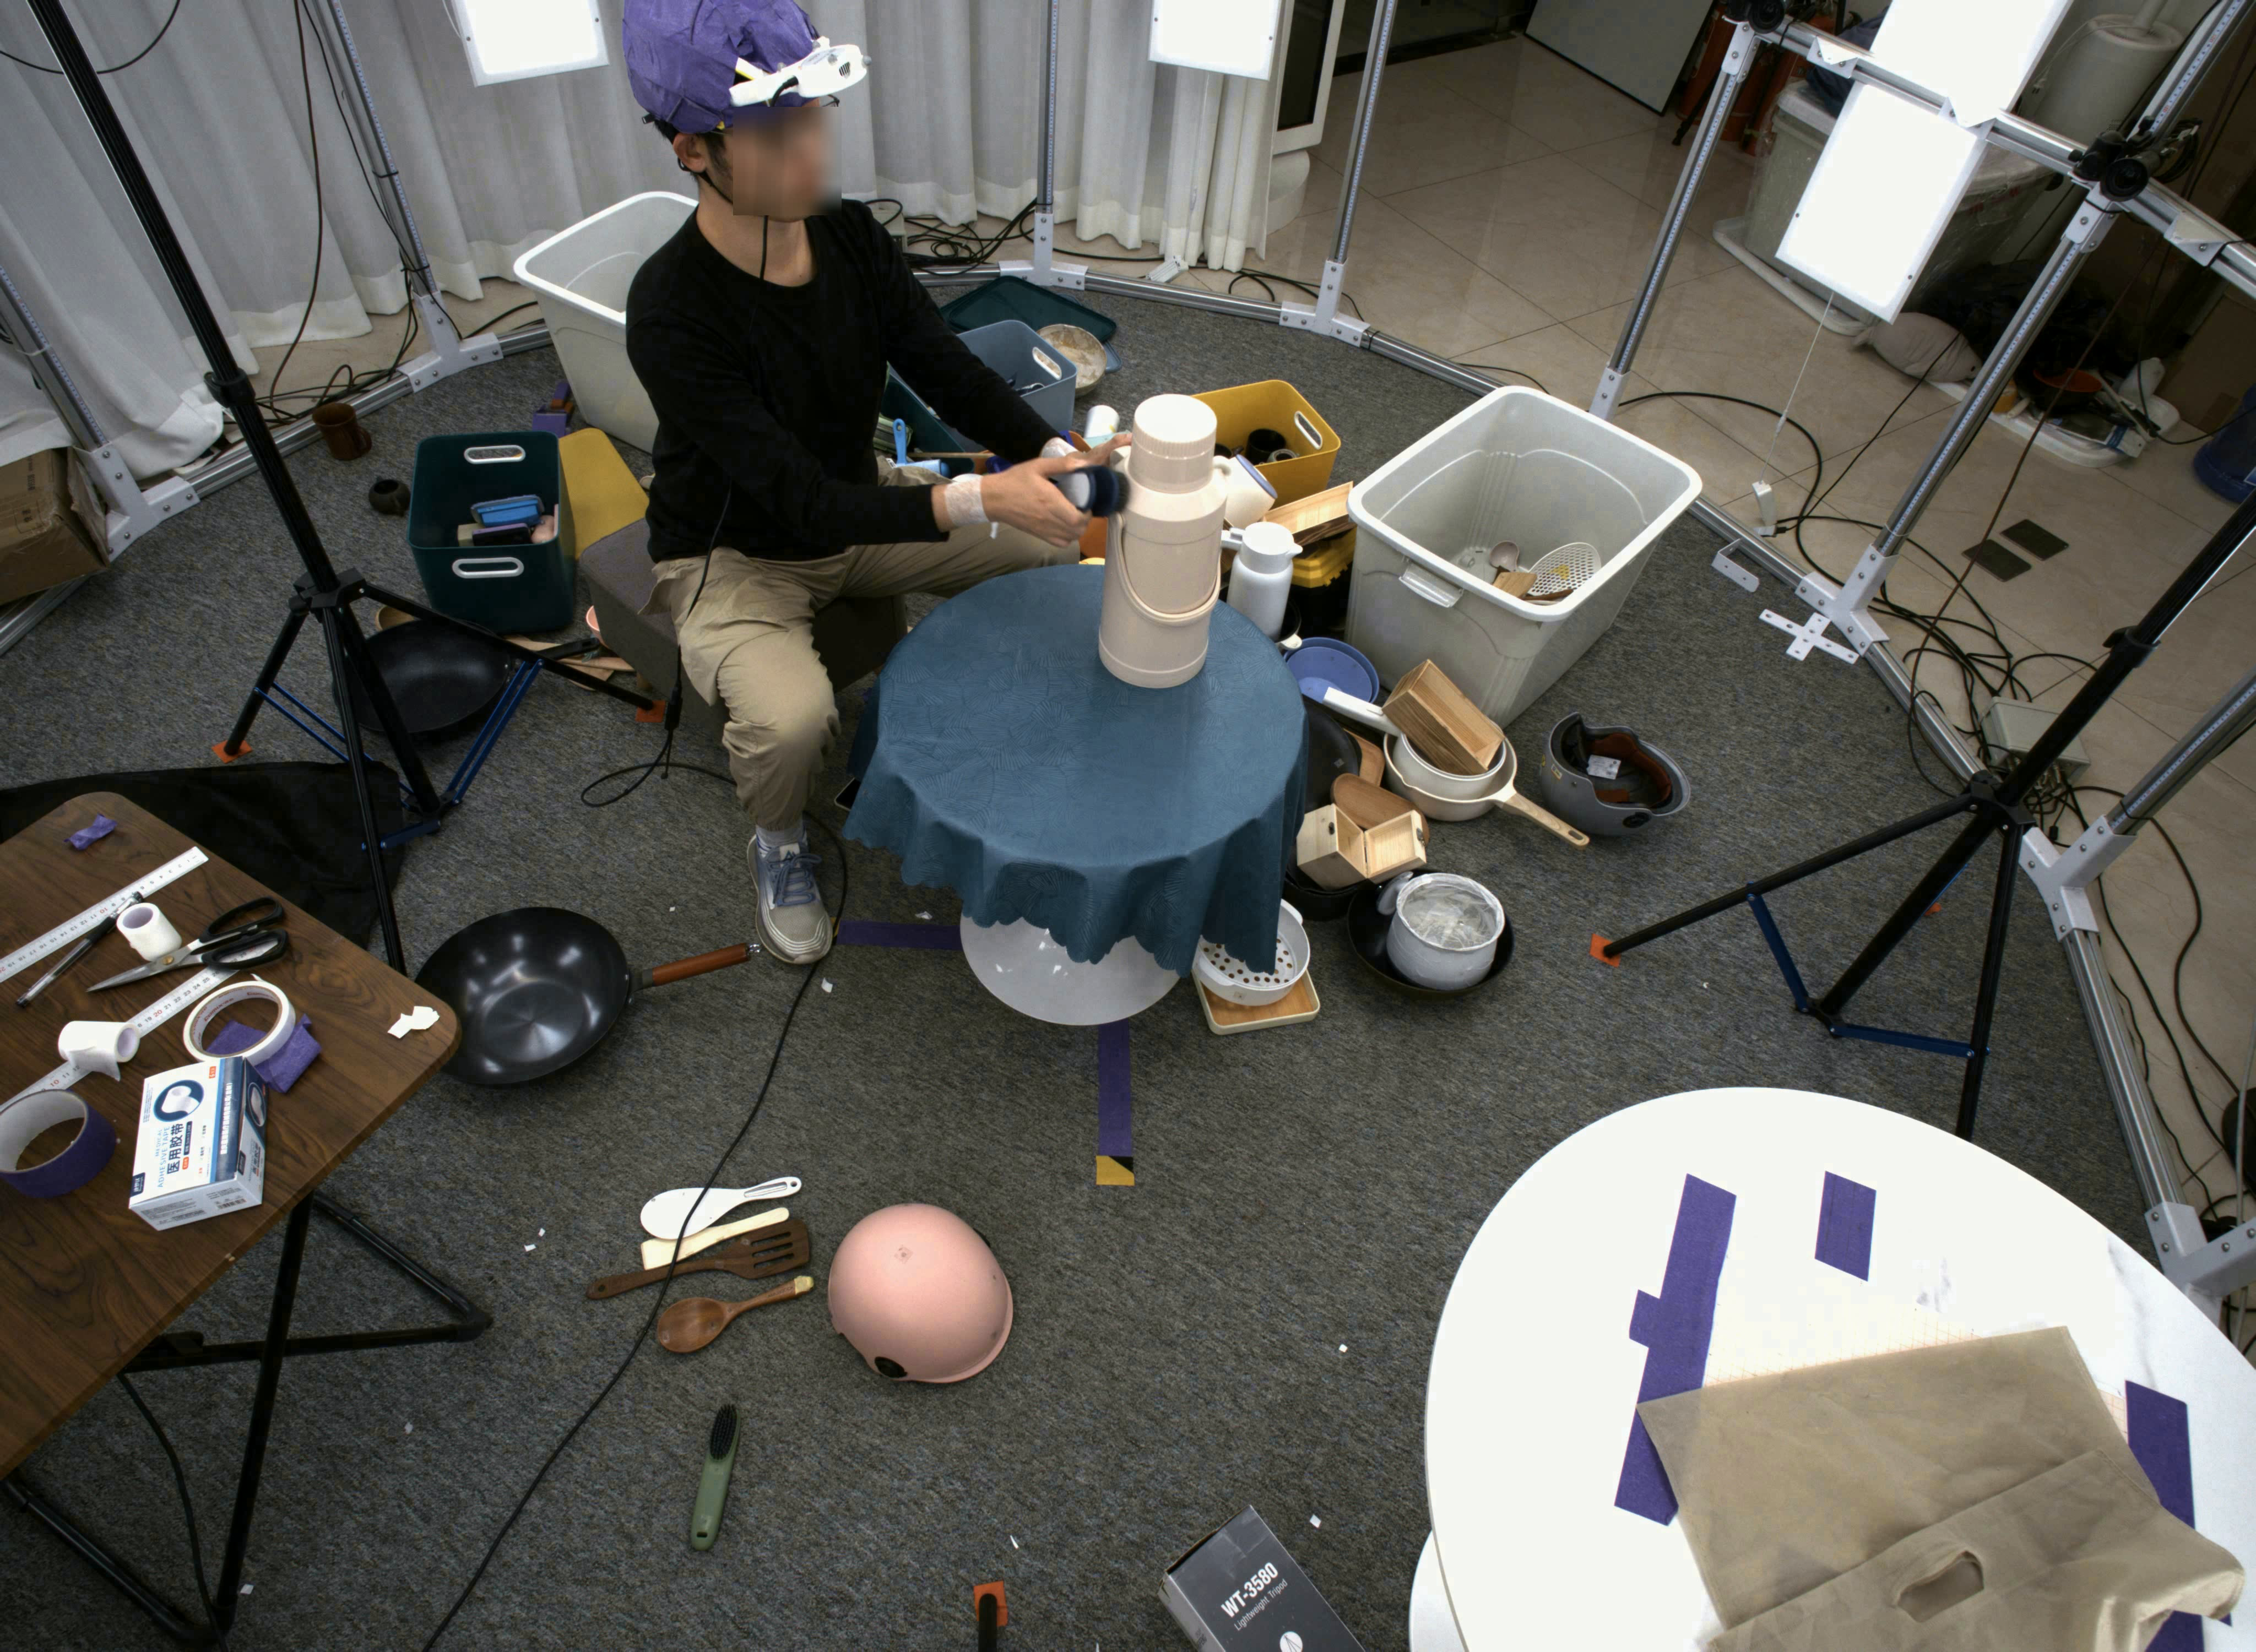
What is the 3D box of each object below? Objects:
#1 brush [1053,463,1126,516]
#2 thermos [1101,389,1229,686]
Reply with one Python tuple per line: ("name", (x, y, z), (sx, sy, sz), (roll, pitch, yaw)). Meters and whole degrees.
("brush", (-0.048, -0.435, 1.669), (0.061, 0.067, 0.123), (-1, 14, -27))
("thermos", (0.042, -0.395, 1.760), (0.176, 0.396, 0.211), (-28, 57, -23))
